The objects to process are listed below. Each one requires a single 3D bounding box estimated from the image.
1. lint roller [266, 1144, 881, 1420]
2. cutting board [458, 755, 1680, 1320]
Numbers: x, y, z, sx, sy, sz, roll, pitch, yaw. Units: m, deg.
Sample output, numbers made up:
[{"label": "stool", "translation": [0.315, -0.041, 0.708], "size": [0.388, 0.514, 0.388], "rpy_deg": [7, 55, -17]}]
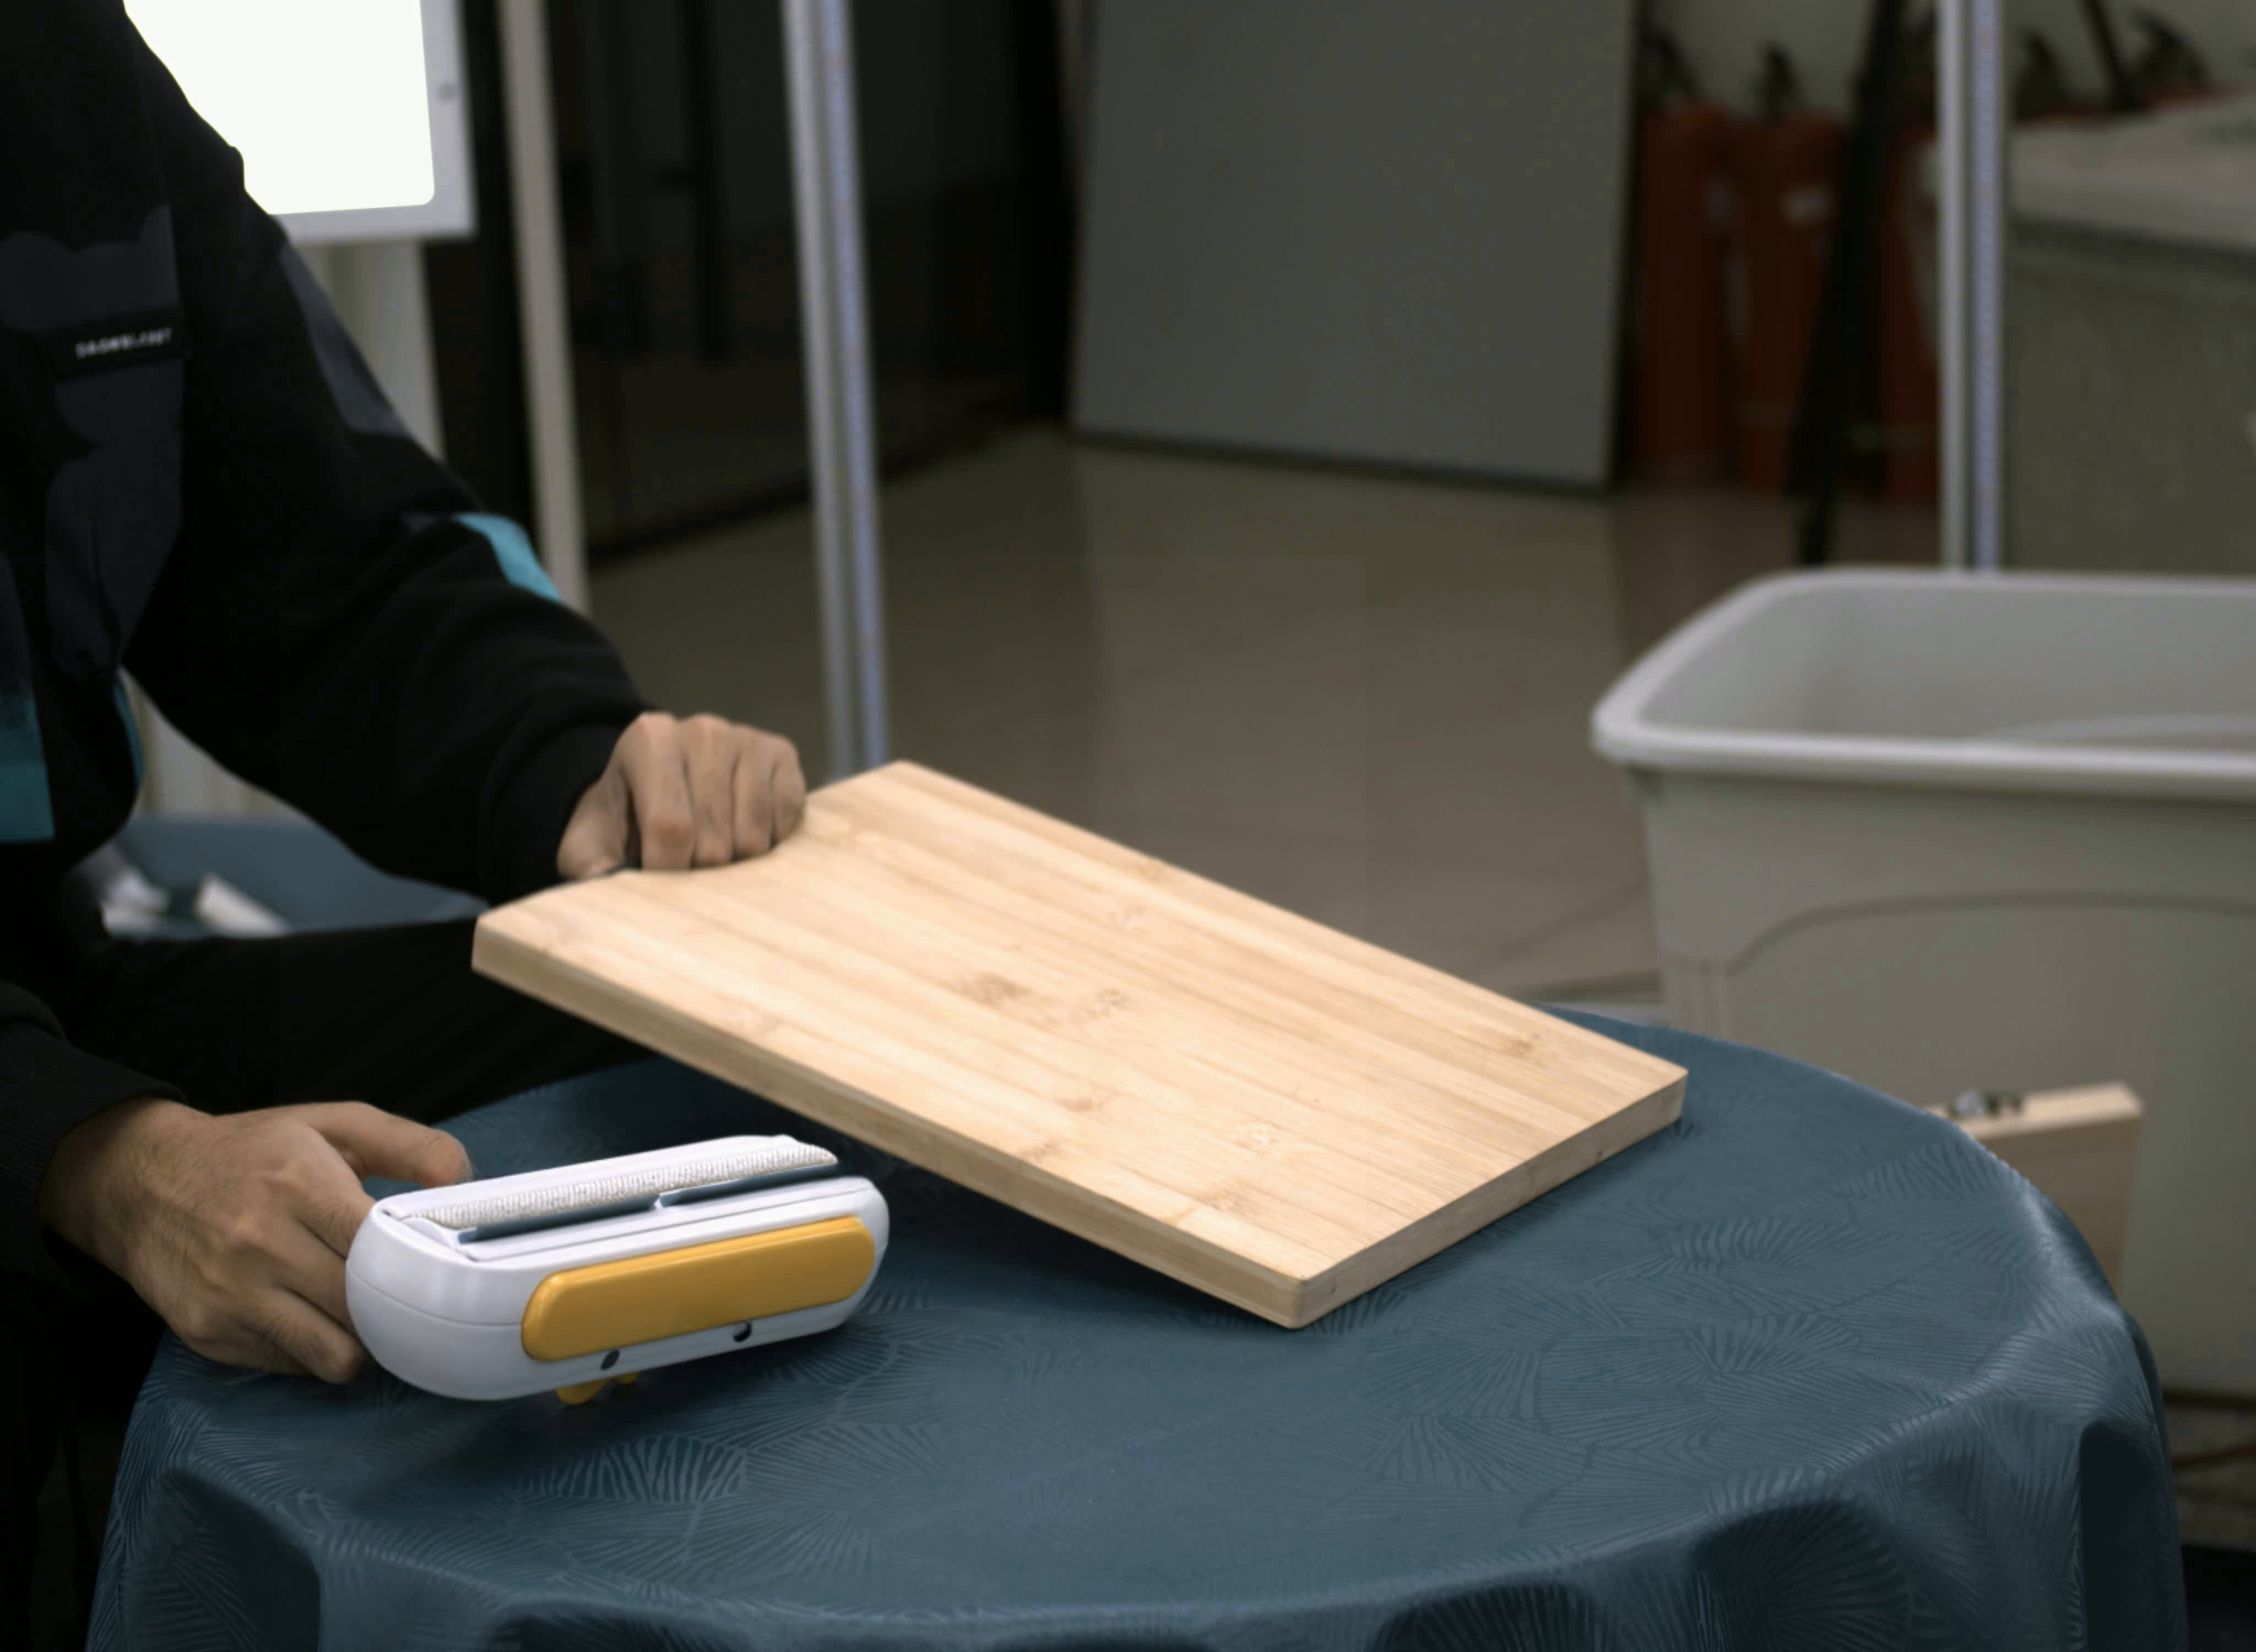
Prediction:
[{"label": "lint roller", "translation": [-0.195, 0.129, 1.643], "size": [0.189, 0.075, 0.194], "rpy_deg": [-11, 17, -44]}, {"label": "cutting board", "translation": [-0.020, 0.063, 1.808], "size": [0.351, 0.024, 0.246], "rpy_deg": [21, 25, 31]}]
